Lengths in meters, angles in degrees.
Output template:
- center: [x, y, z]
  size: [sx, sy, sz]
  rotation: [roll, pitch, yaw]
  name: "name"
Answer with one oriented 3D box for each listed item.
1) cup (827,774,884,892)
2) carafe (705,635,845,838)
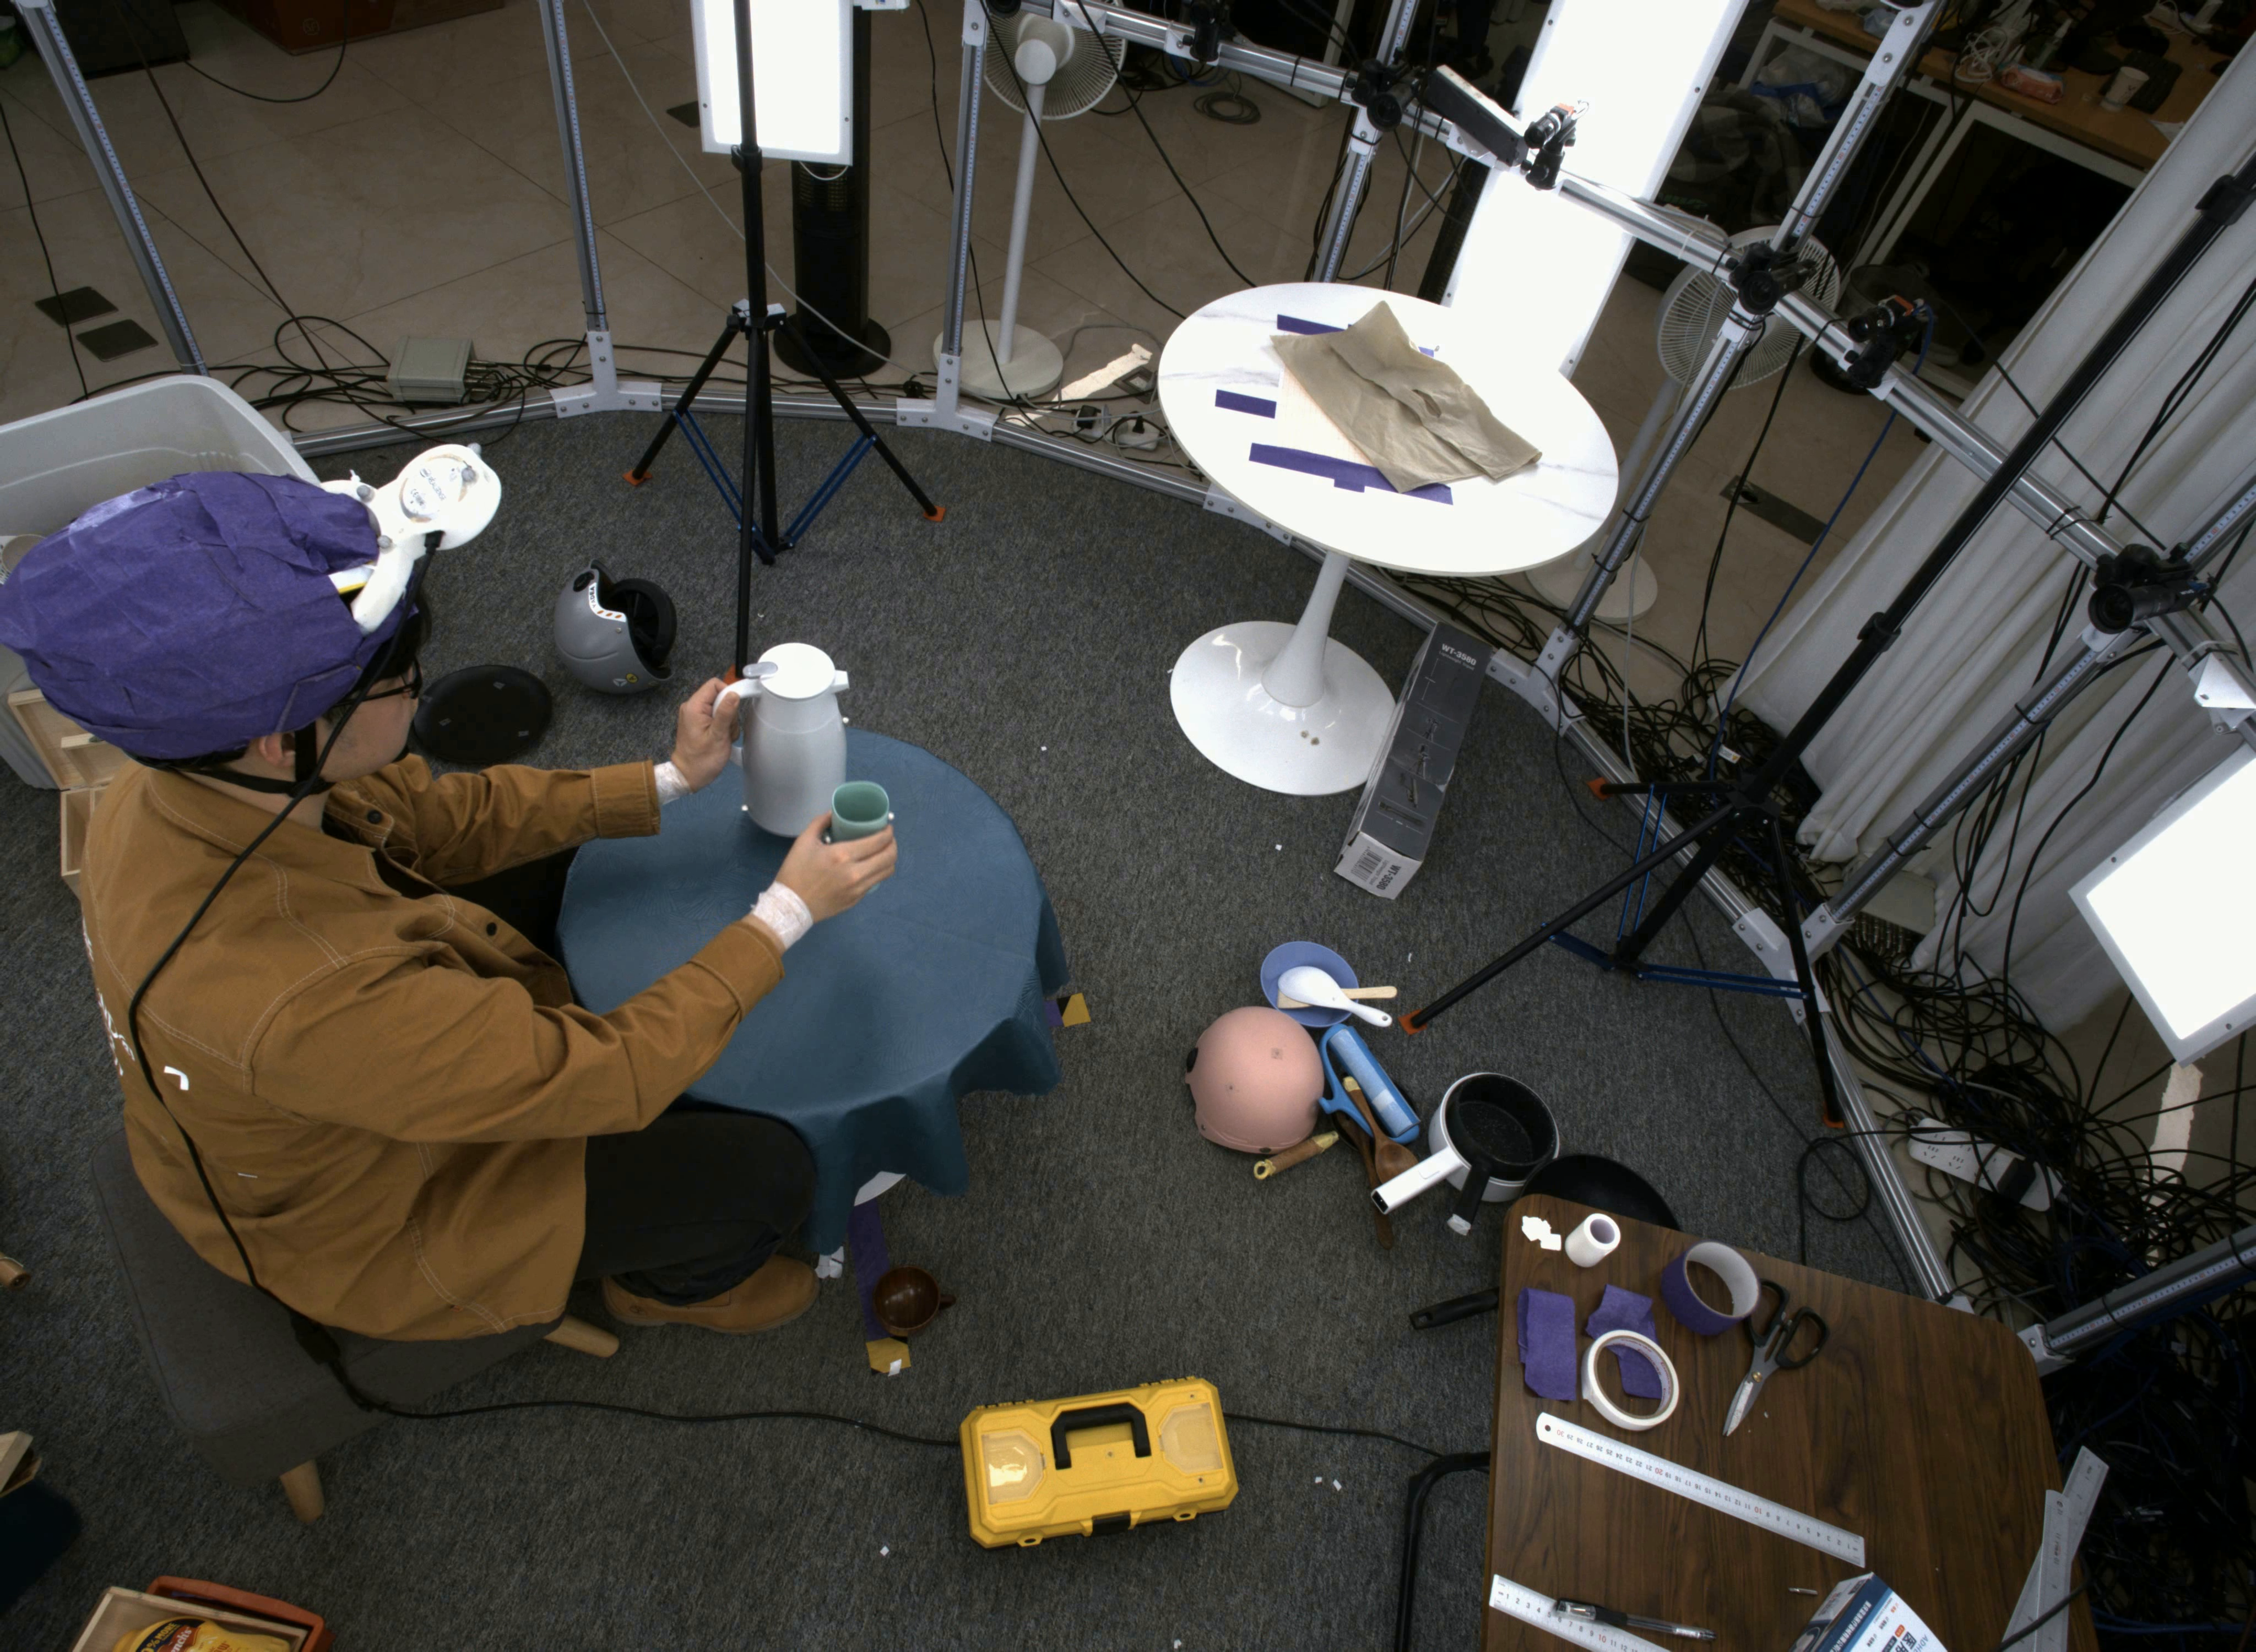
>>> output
- center: [-0.312, 0.010, 1.481]
  size: [0.066, 0.135, 0.065]
  rotation: [8, 48, -7]
  name: "cup"
- center: [-0.434, -0.114, 1.599]
  size: [0.168, 0.254, 0.129]
  rotation: [-5, 53, -17]
  name: "carafe"
